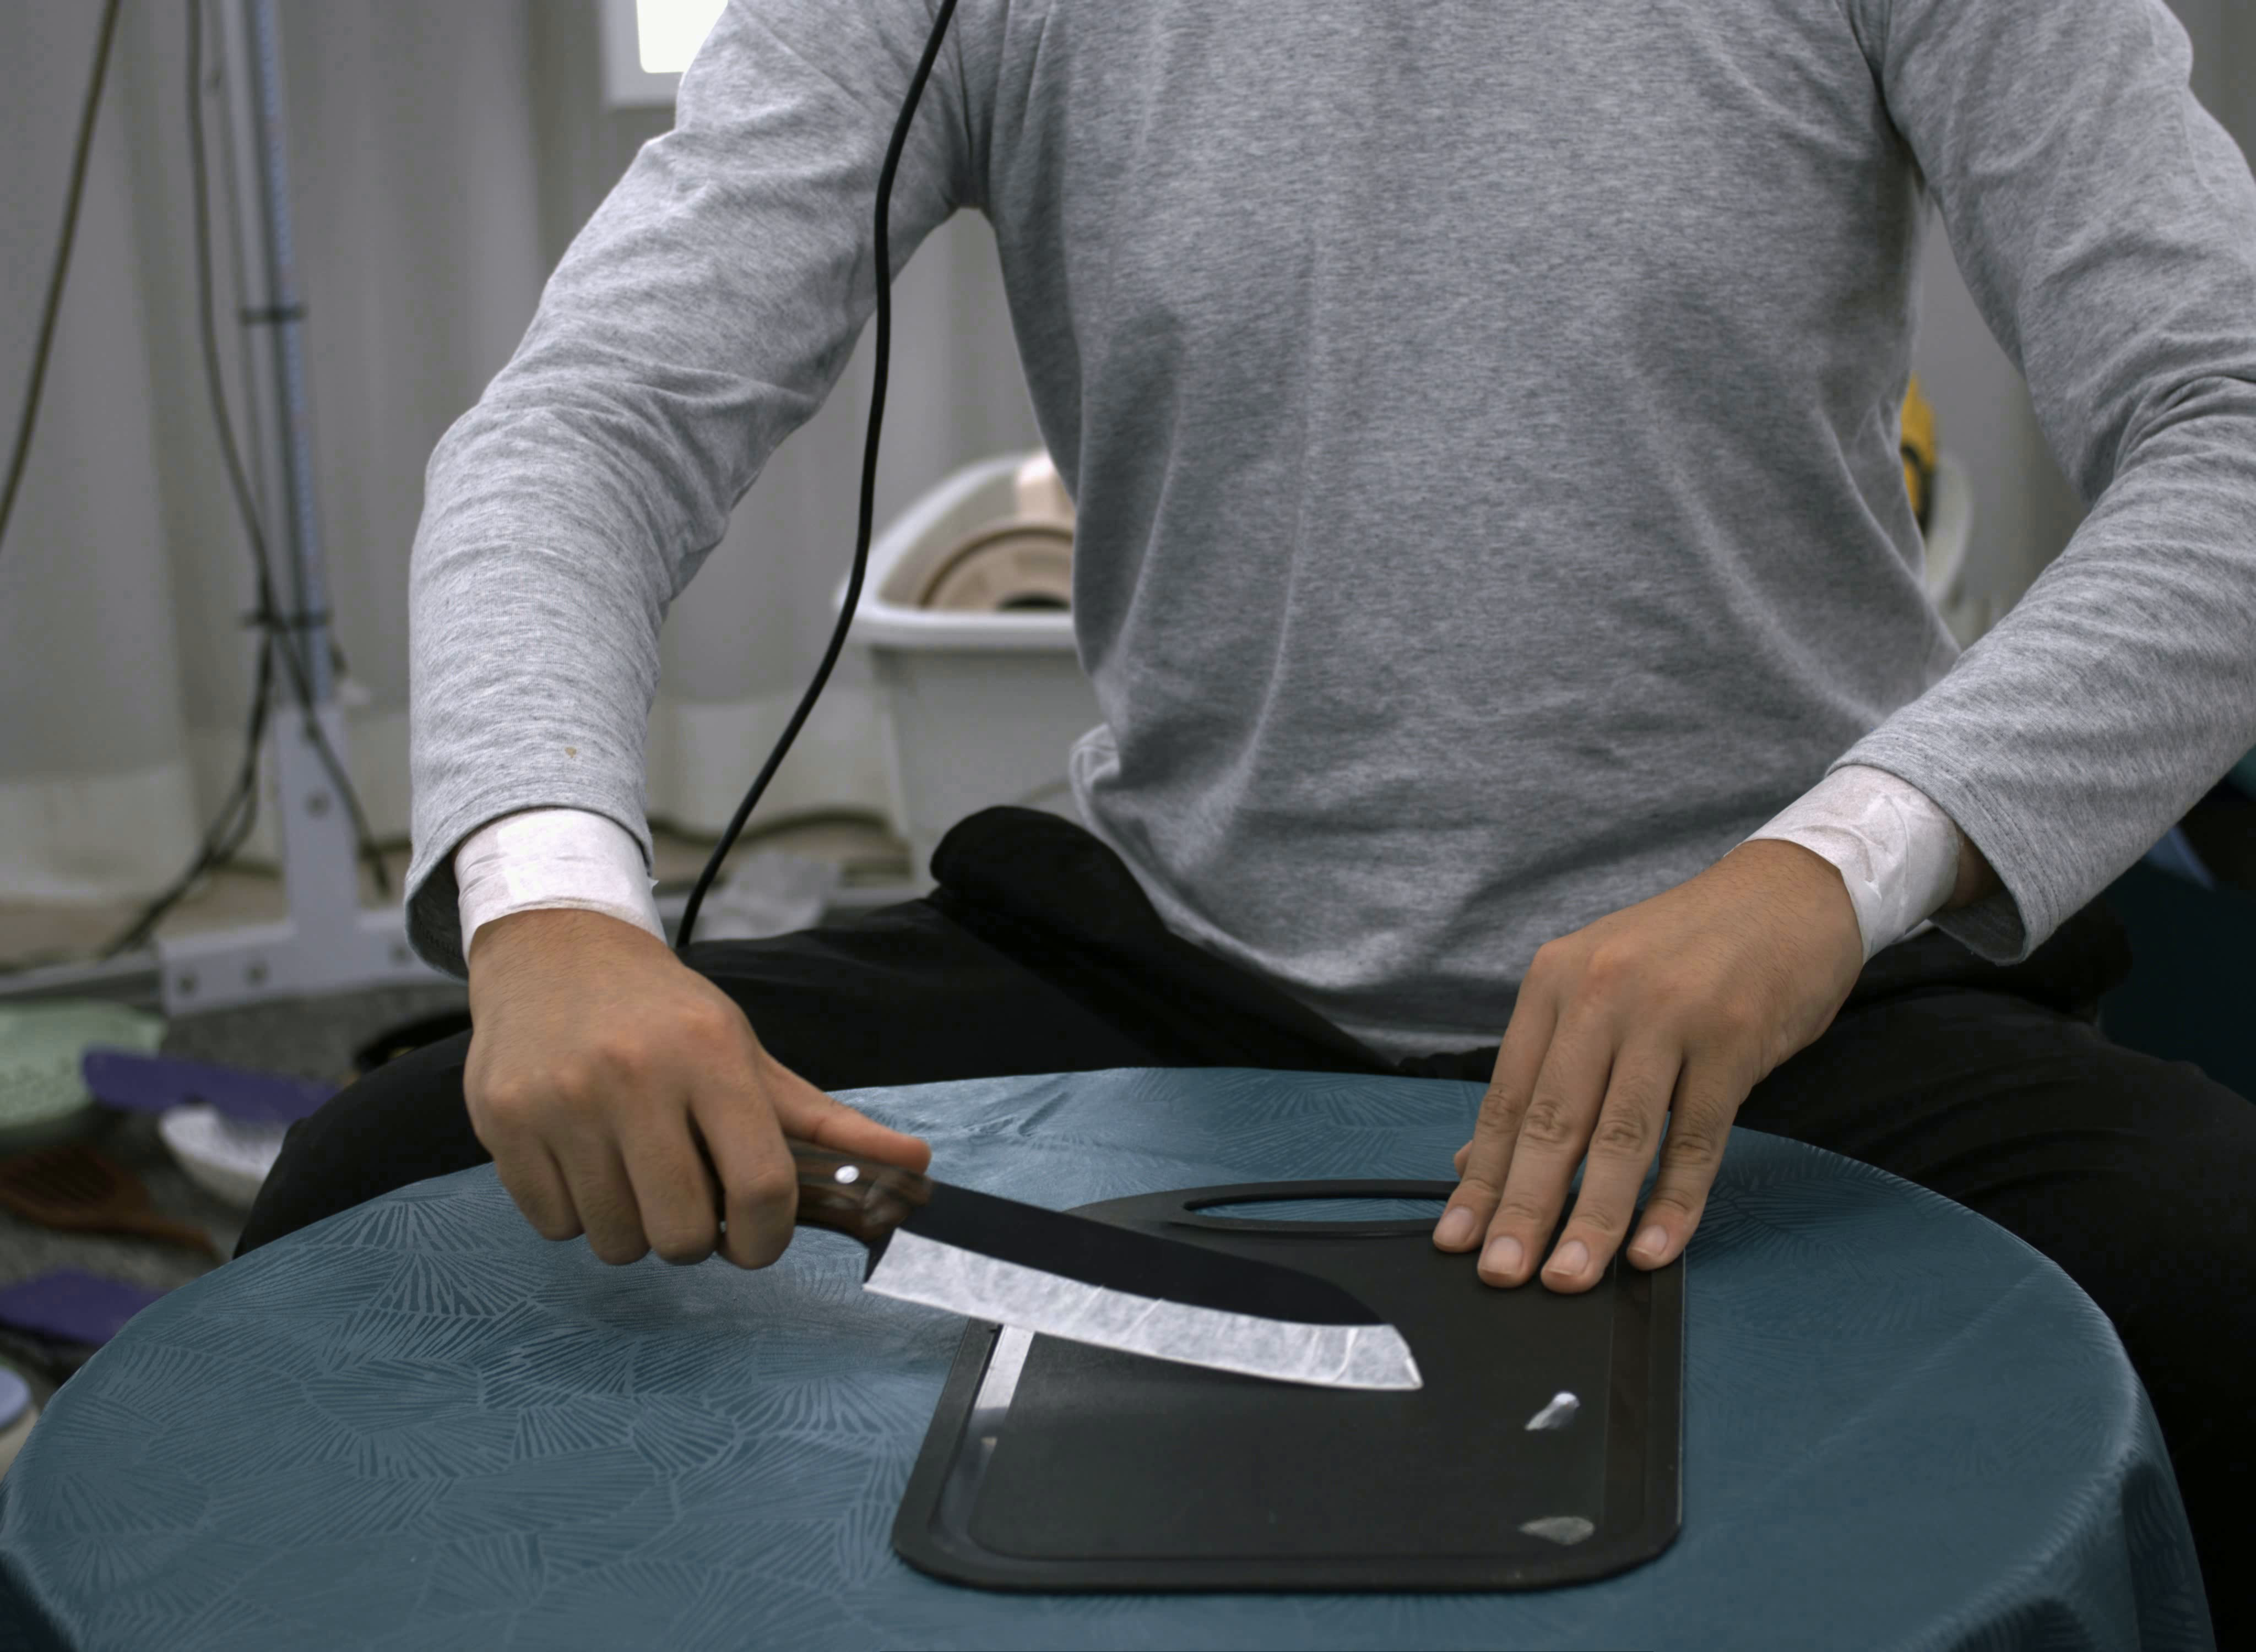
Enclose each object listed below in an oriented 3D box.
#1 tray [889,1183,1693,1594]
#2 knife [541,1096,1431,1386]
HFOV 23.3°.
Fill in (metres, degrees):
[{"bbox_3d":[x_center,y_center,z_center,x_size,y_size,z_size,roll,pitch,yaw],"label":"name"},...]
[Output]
[{"bbox_3d":[0.053,0.153,1.553,0.210,0.010,0.327,-1,15,7],"label":"tray"},{"bbox_3d":[-0.045,0.121,1.587,0.290,0.020,0.051,14,50,21],"label":"knife"}]
